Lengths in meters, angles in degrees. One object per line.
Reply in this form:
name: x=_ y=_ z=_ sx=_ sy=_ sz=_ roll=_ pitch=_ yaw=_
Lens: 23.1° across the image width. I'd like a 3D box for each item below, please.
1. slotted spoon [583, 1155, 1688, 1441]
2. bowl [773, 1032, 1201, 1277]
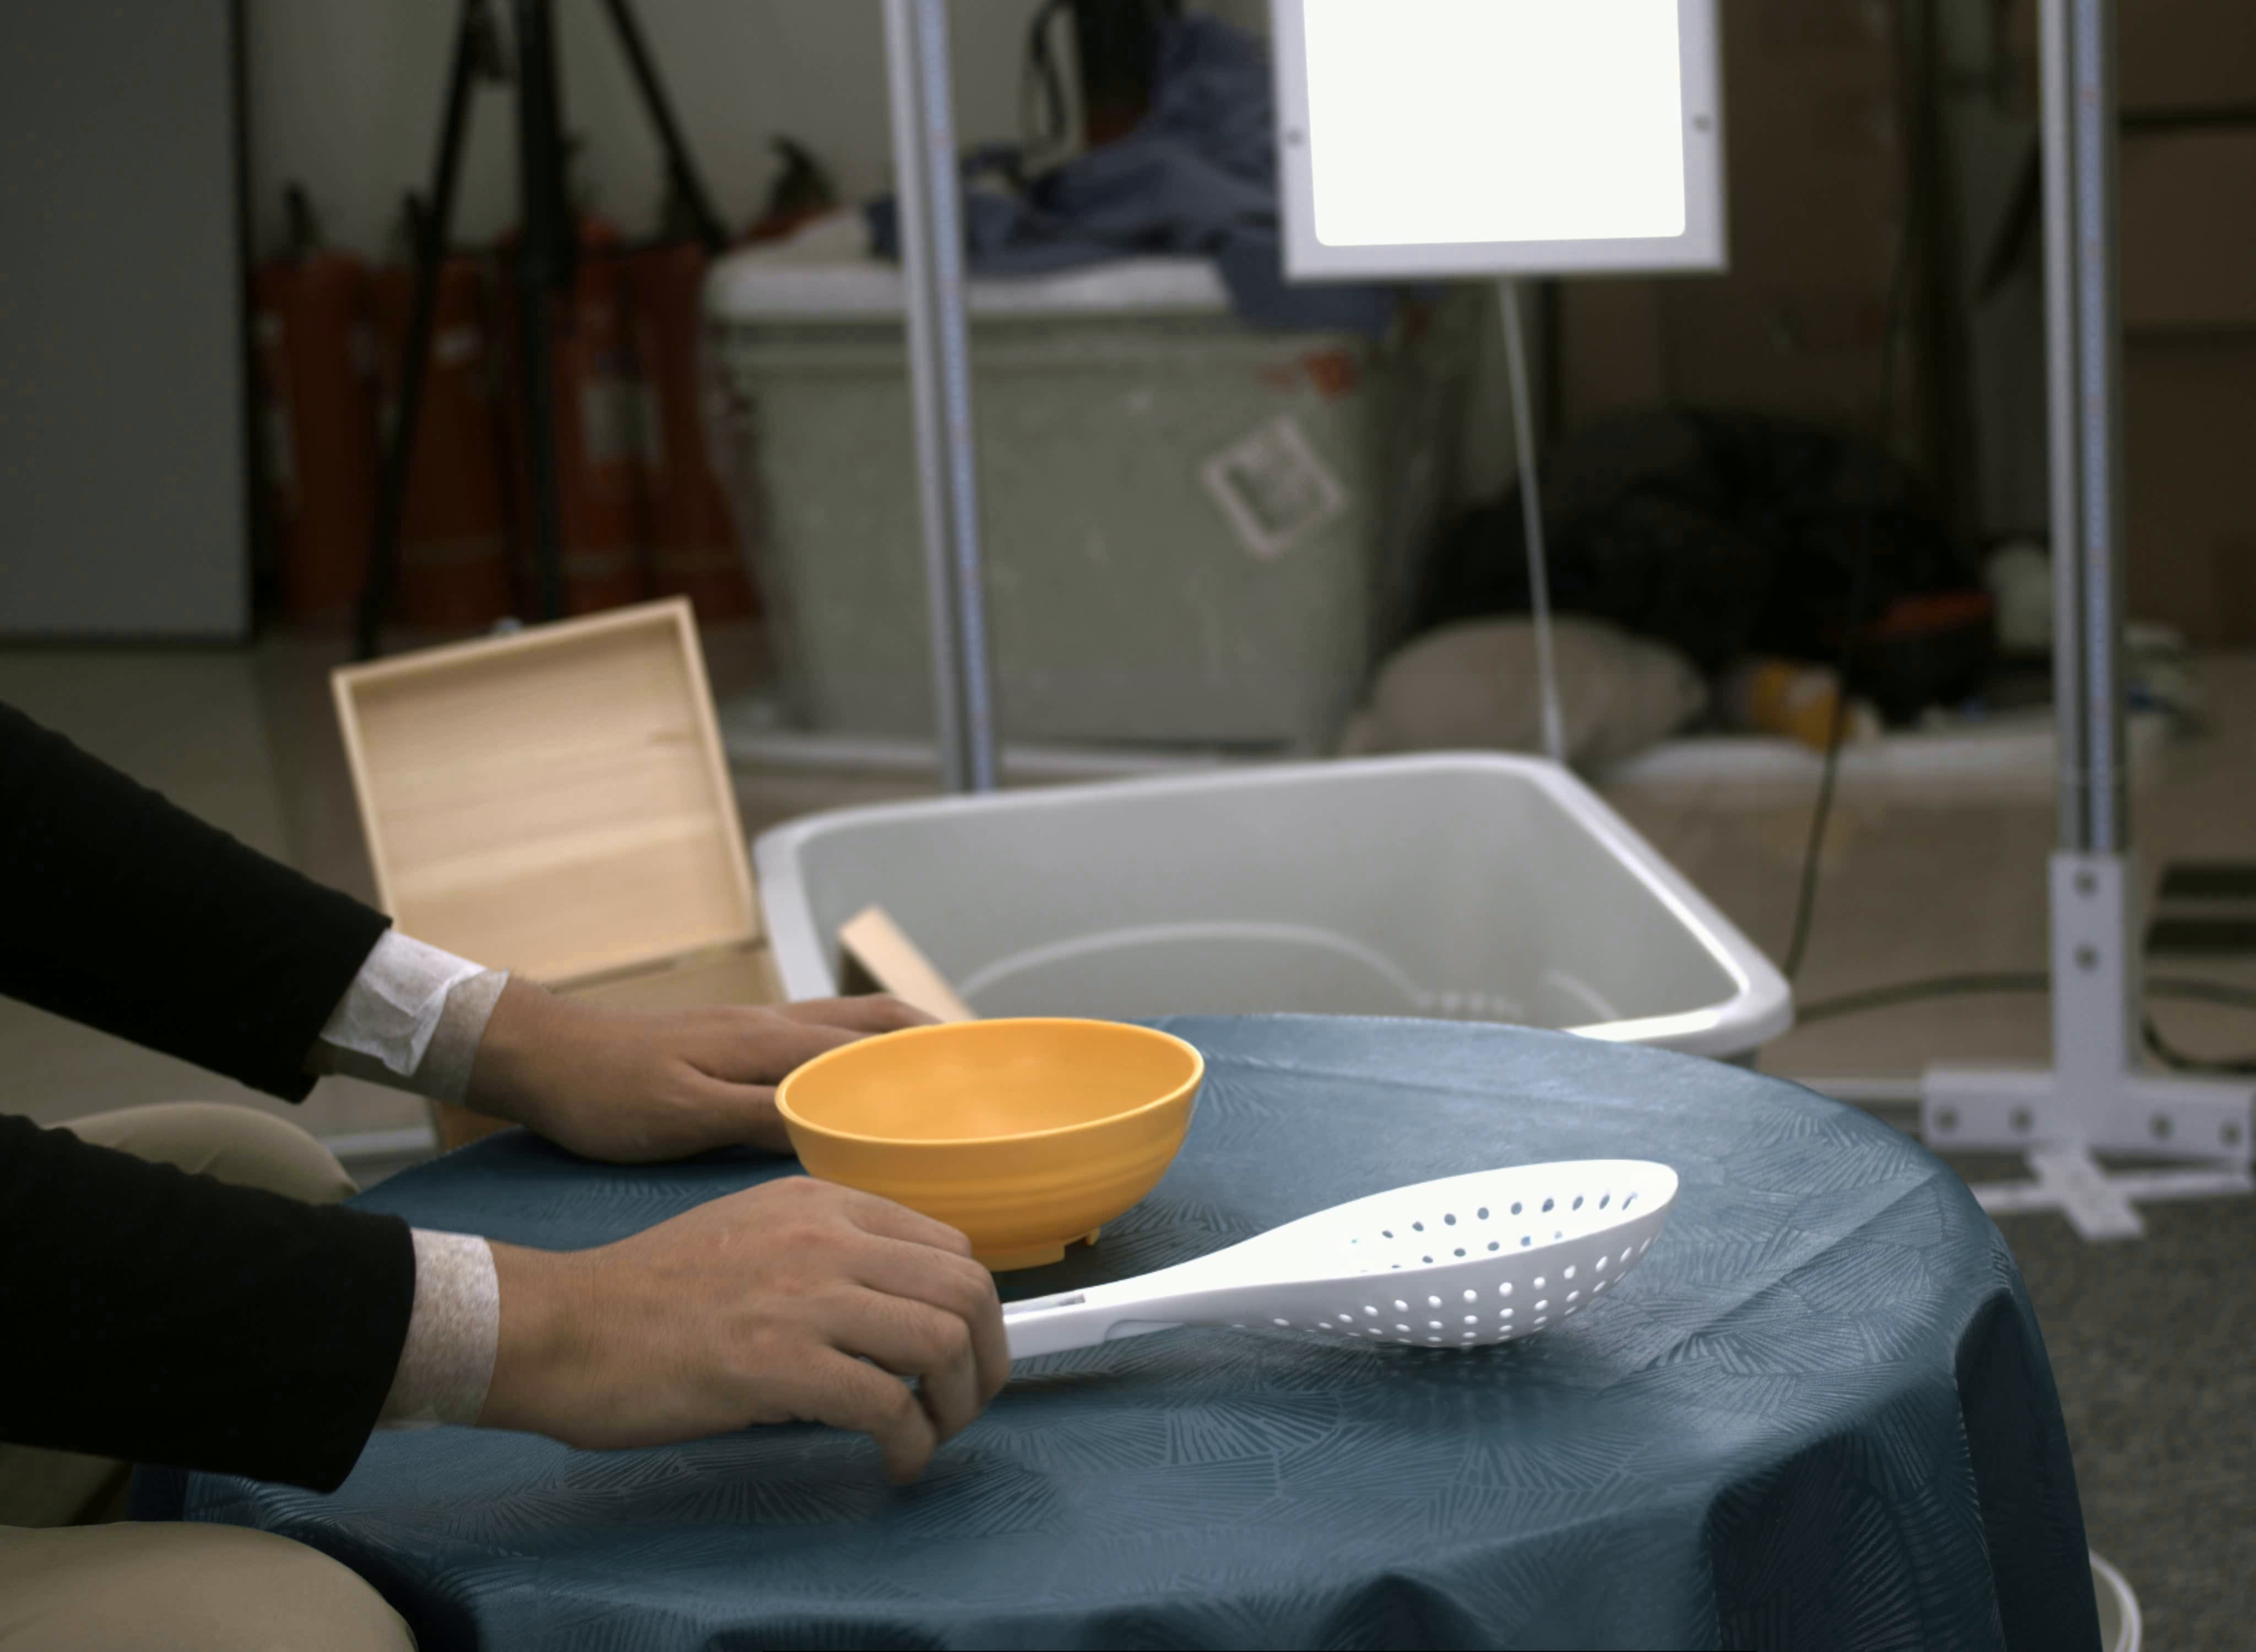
slotted spoon: x=0.003 y=0.148 z=1.710 sx=0.348 sy=0.046 sz=0.136 roll=-6 pitch=7 yaw=-2
bowl: x=-0.046 y=0.114 z=1.850 sx=0.145 sy=0.060 sz=0.145 roll=-4 pitch=12 yaw=0
